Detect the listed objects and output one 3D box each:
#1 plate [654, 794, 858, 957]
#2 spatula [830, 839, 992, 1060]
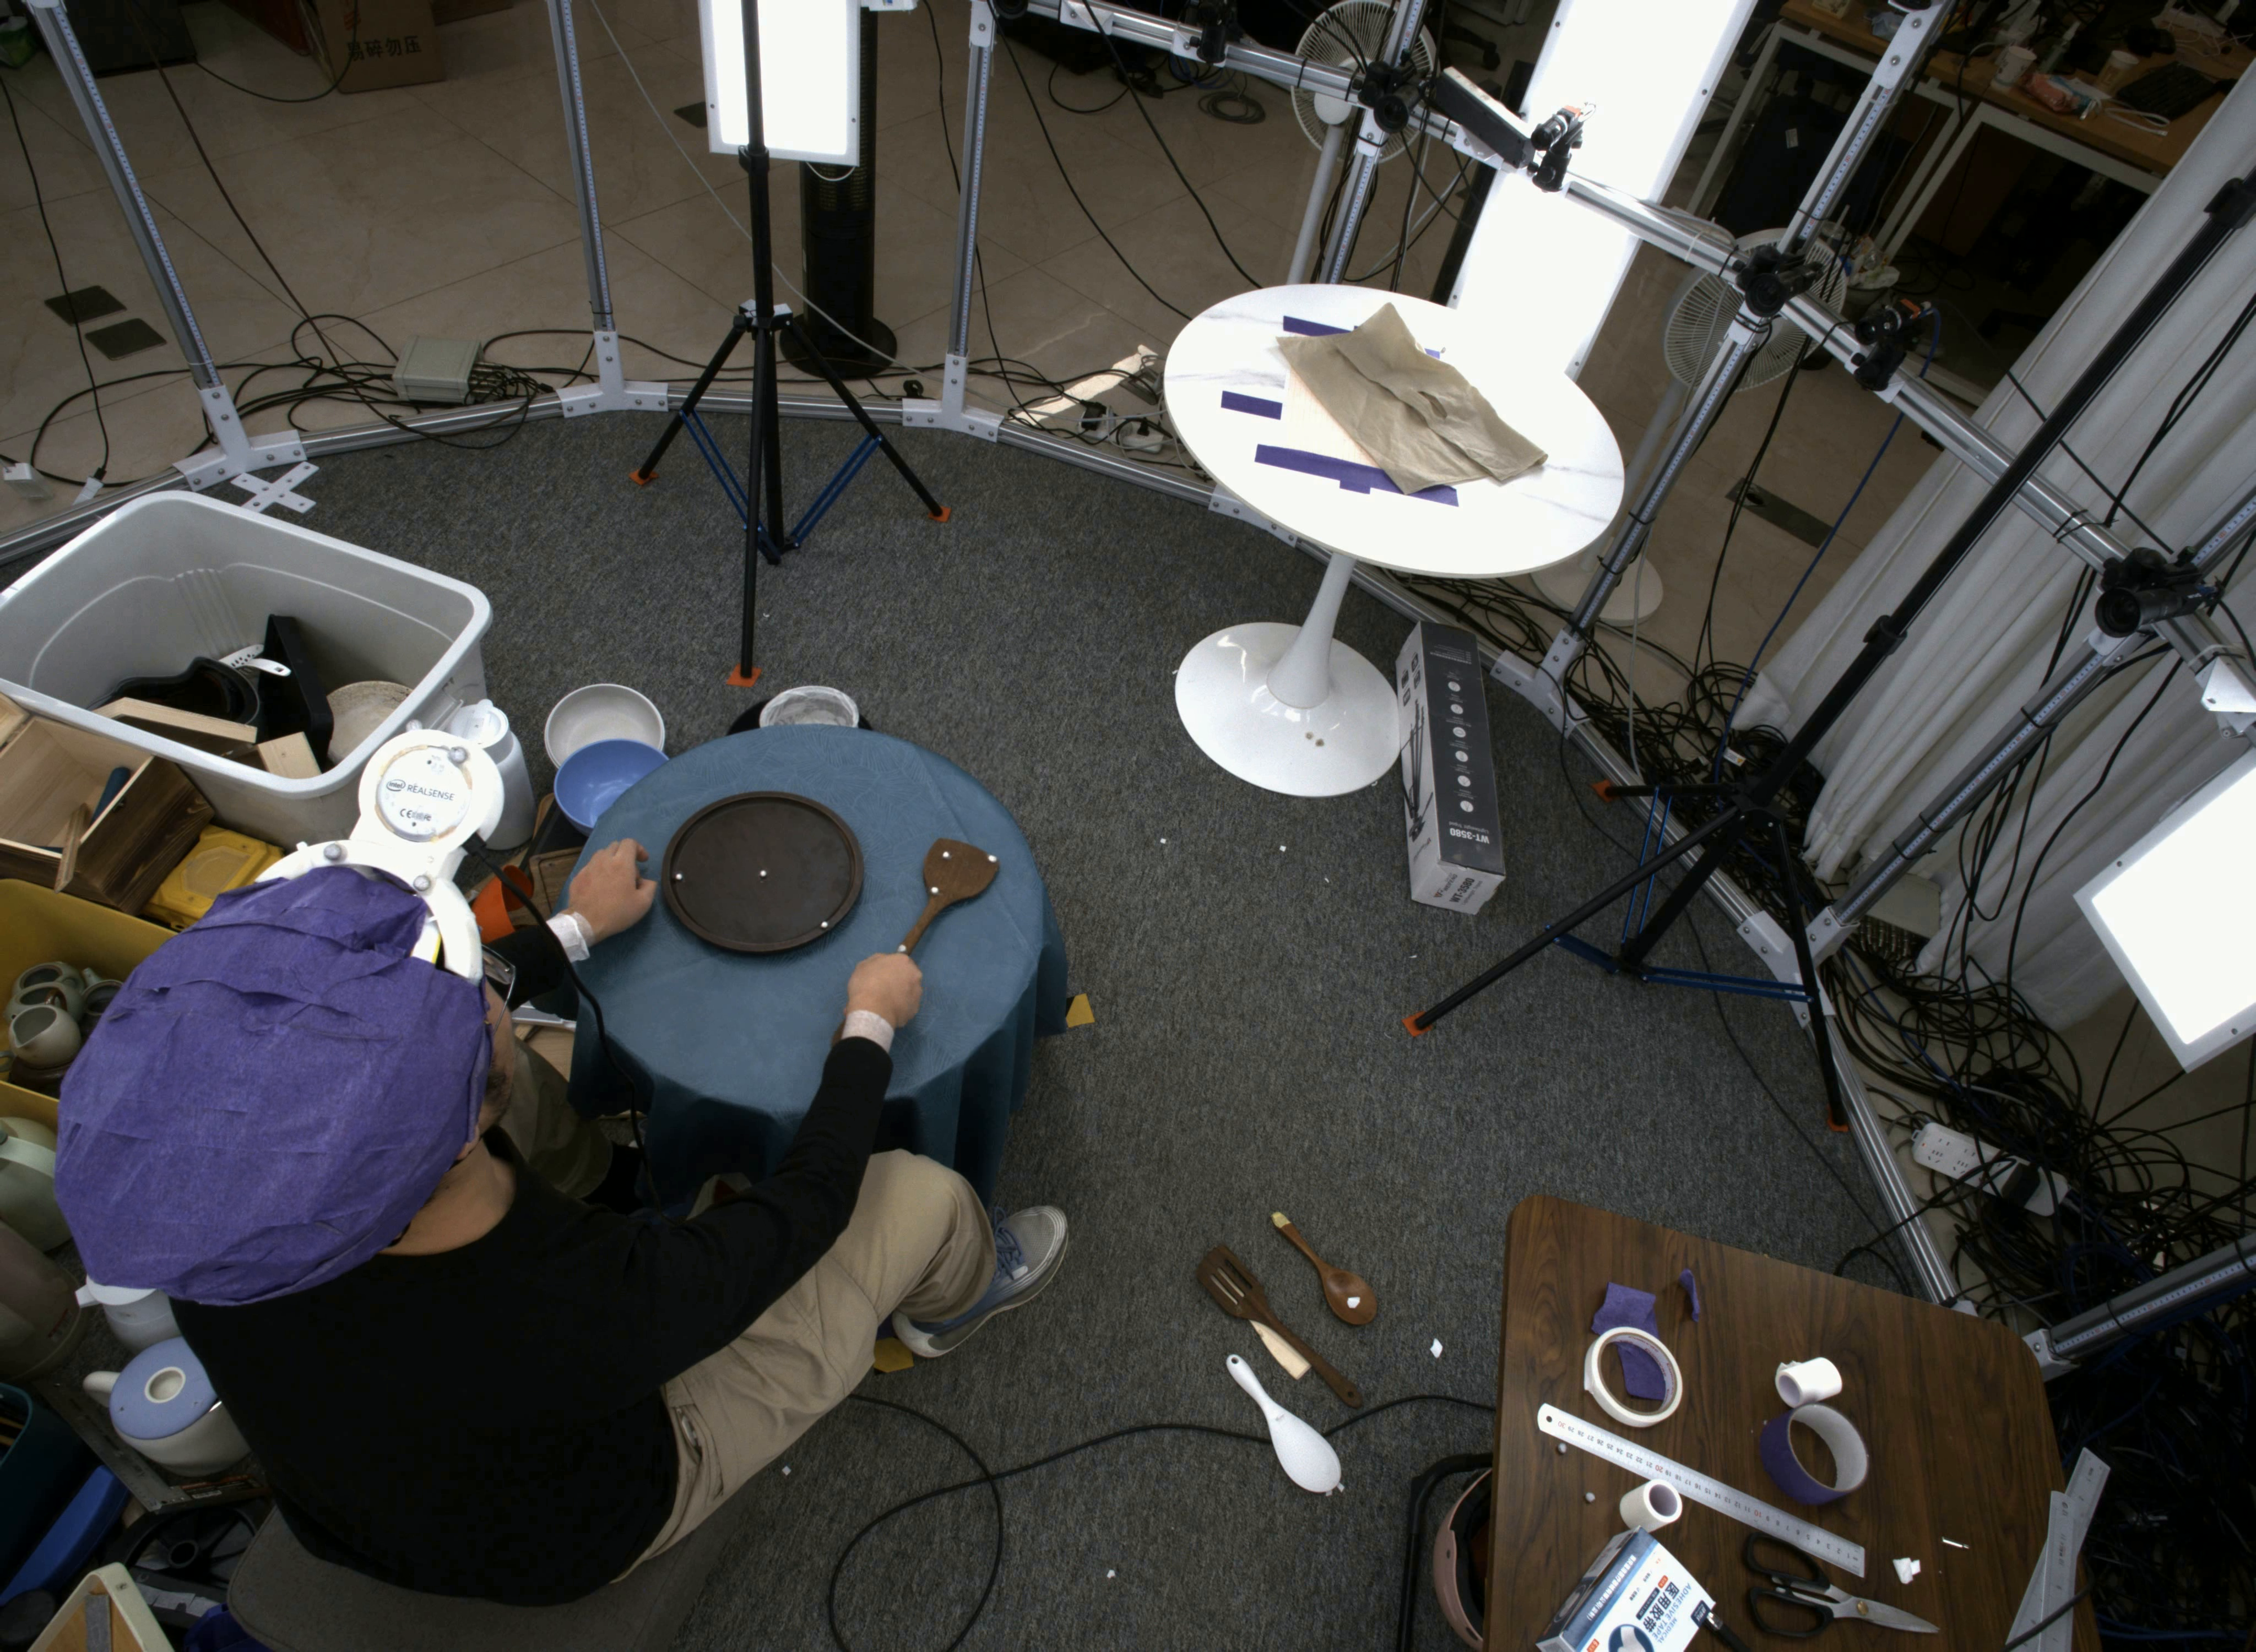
[{"bbox_3d":[-0.472,0.059,1.648,0.254,0.029,0.250,9,52,-10],"label":"plate"},{"bbox_3d":[-0.275,0.143,1.612,0.095,0.016,0.382,22,42,3],"label":"spatula"}]
